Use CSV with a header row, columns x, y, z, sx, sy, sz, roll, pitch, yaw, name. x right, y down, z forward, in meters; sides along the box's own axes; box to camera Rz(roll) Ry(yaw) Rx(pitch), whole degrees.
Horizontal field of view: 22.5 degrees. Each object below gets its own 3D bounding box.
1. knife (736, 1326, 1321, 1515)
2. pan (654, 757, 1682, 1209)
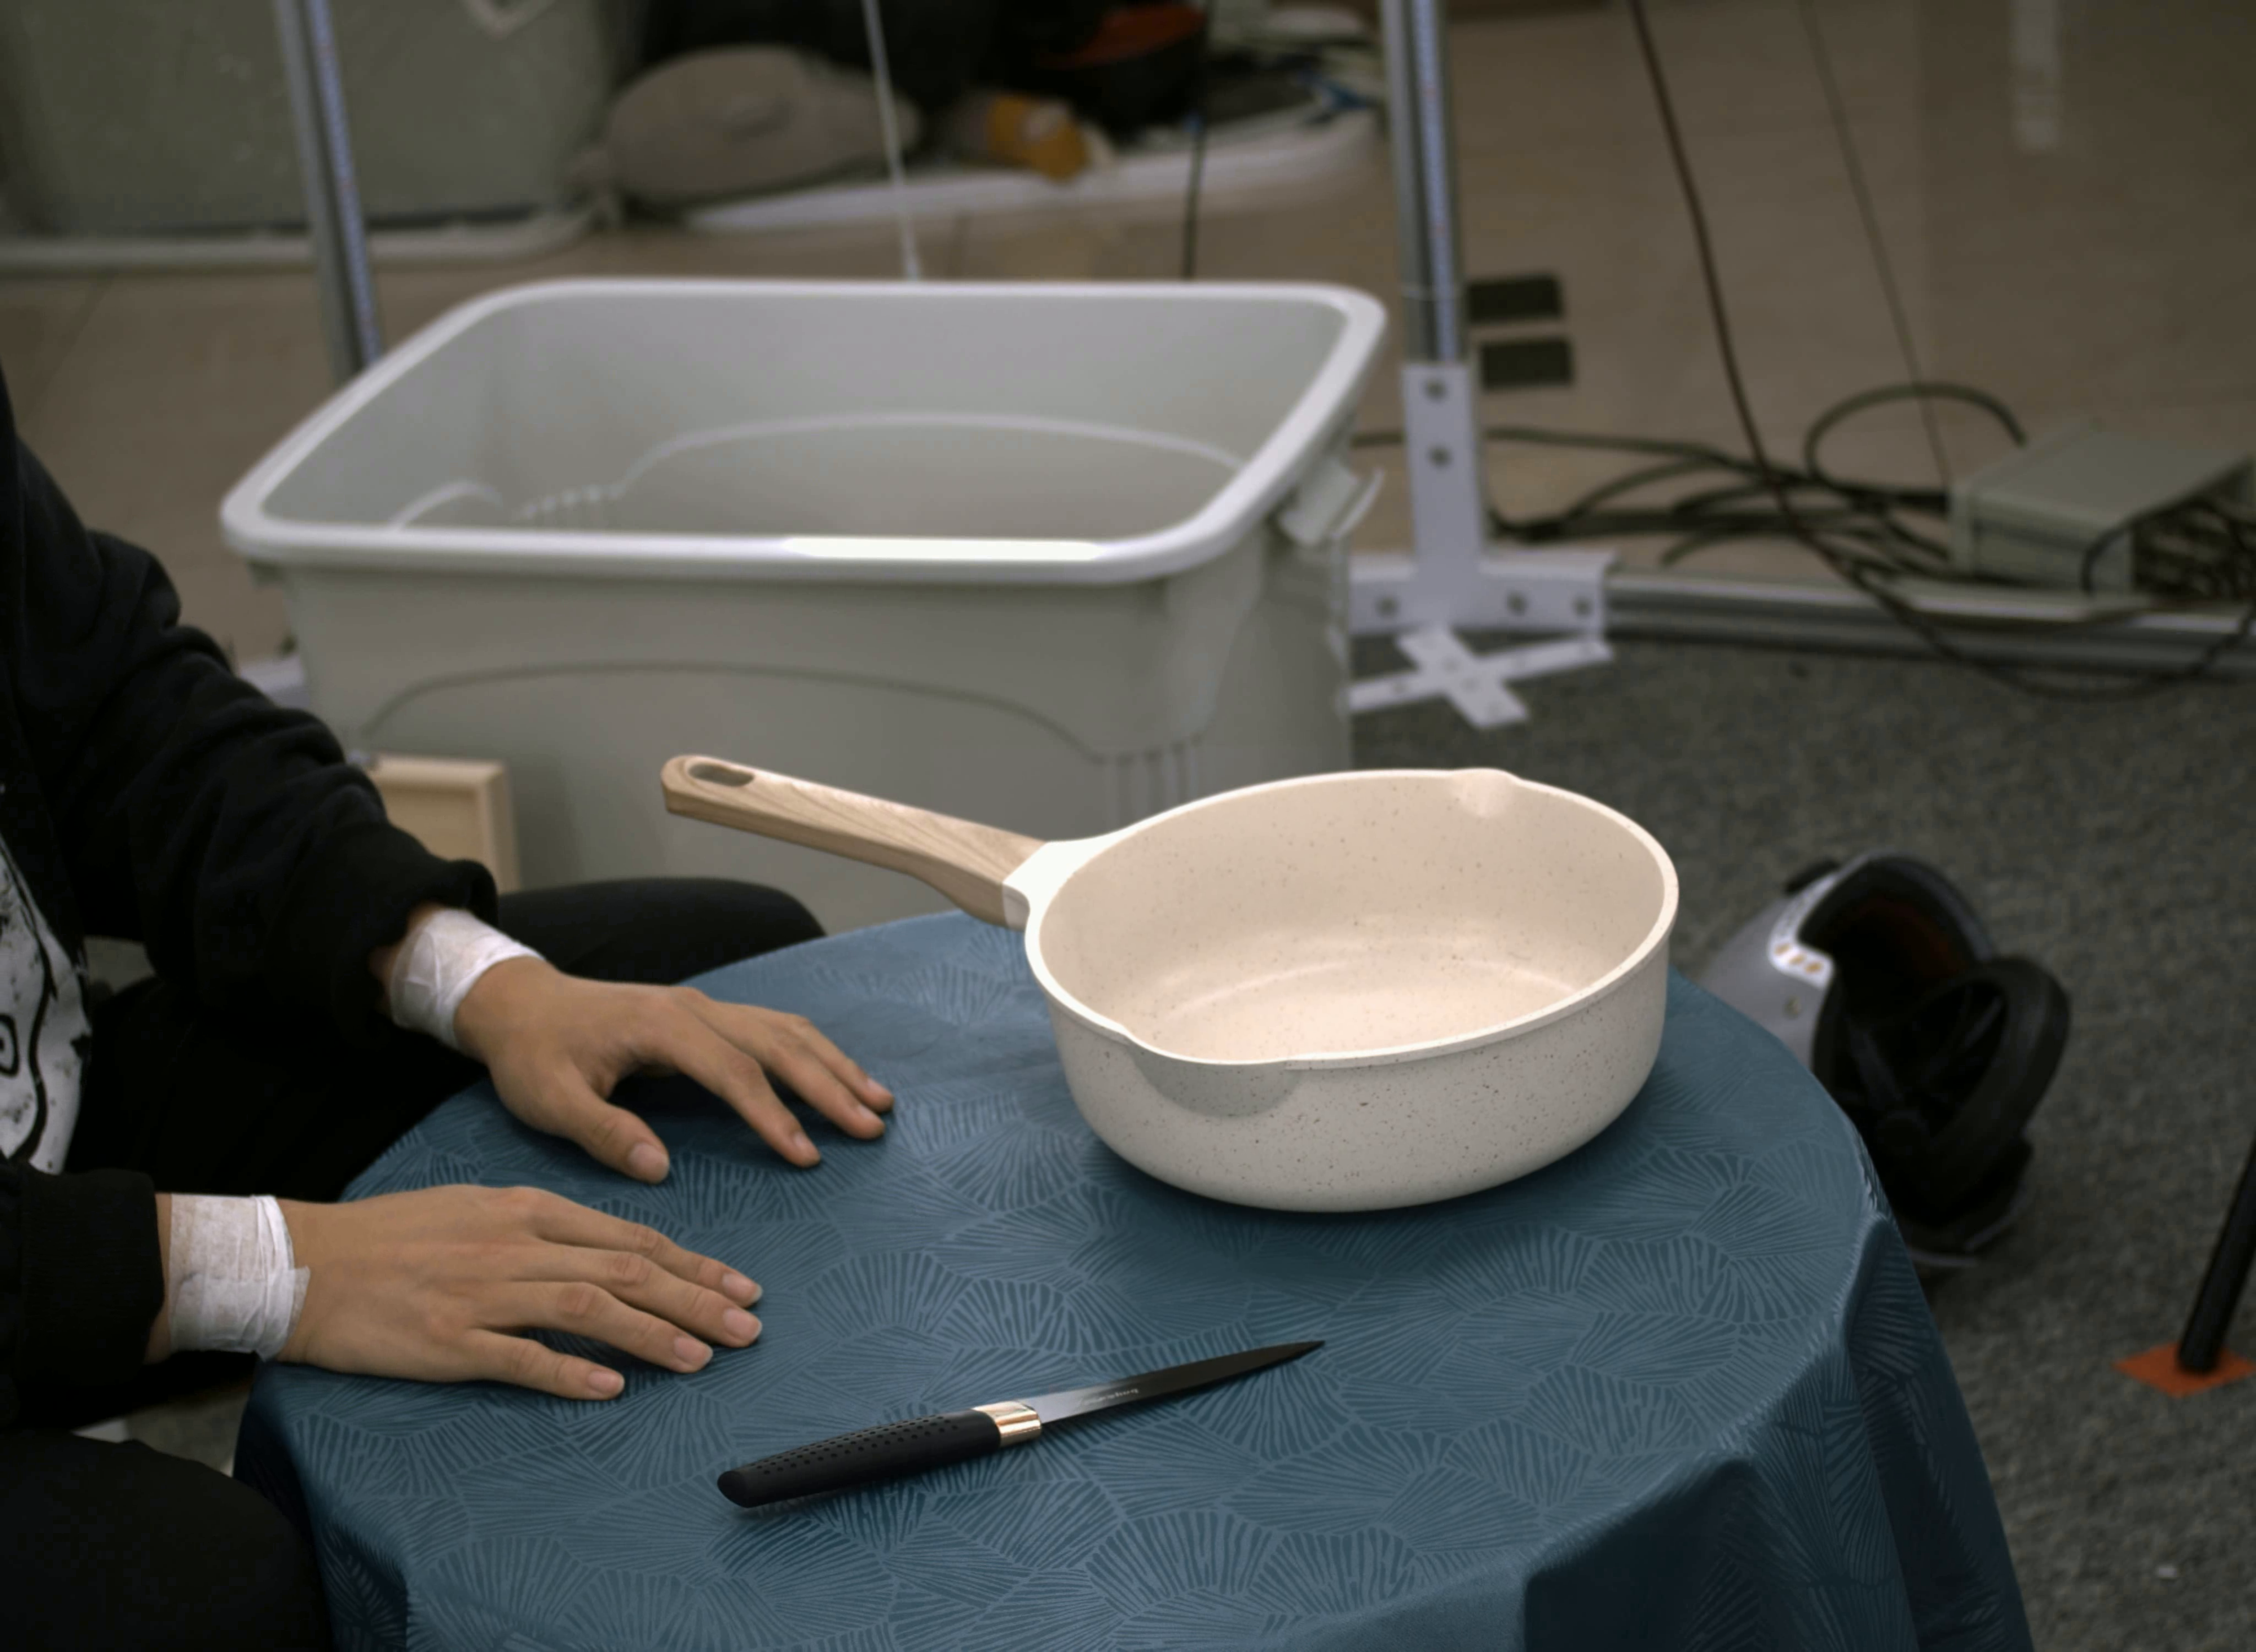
x,y,z,sx,sy,sz,roll,pitch,yaw,name
-0.033,0.207,2.002,0.225,0.017,0.026,-14,11,-17,knife
0.009,0.048,2.225,0.433,0.103,0.260,7,30,27,pan
